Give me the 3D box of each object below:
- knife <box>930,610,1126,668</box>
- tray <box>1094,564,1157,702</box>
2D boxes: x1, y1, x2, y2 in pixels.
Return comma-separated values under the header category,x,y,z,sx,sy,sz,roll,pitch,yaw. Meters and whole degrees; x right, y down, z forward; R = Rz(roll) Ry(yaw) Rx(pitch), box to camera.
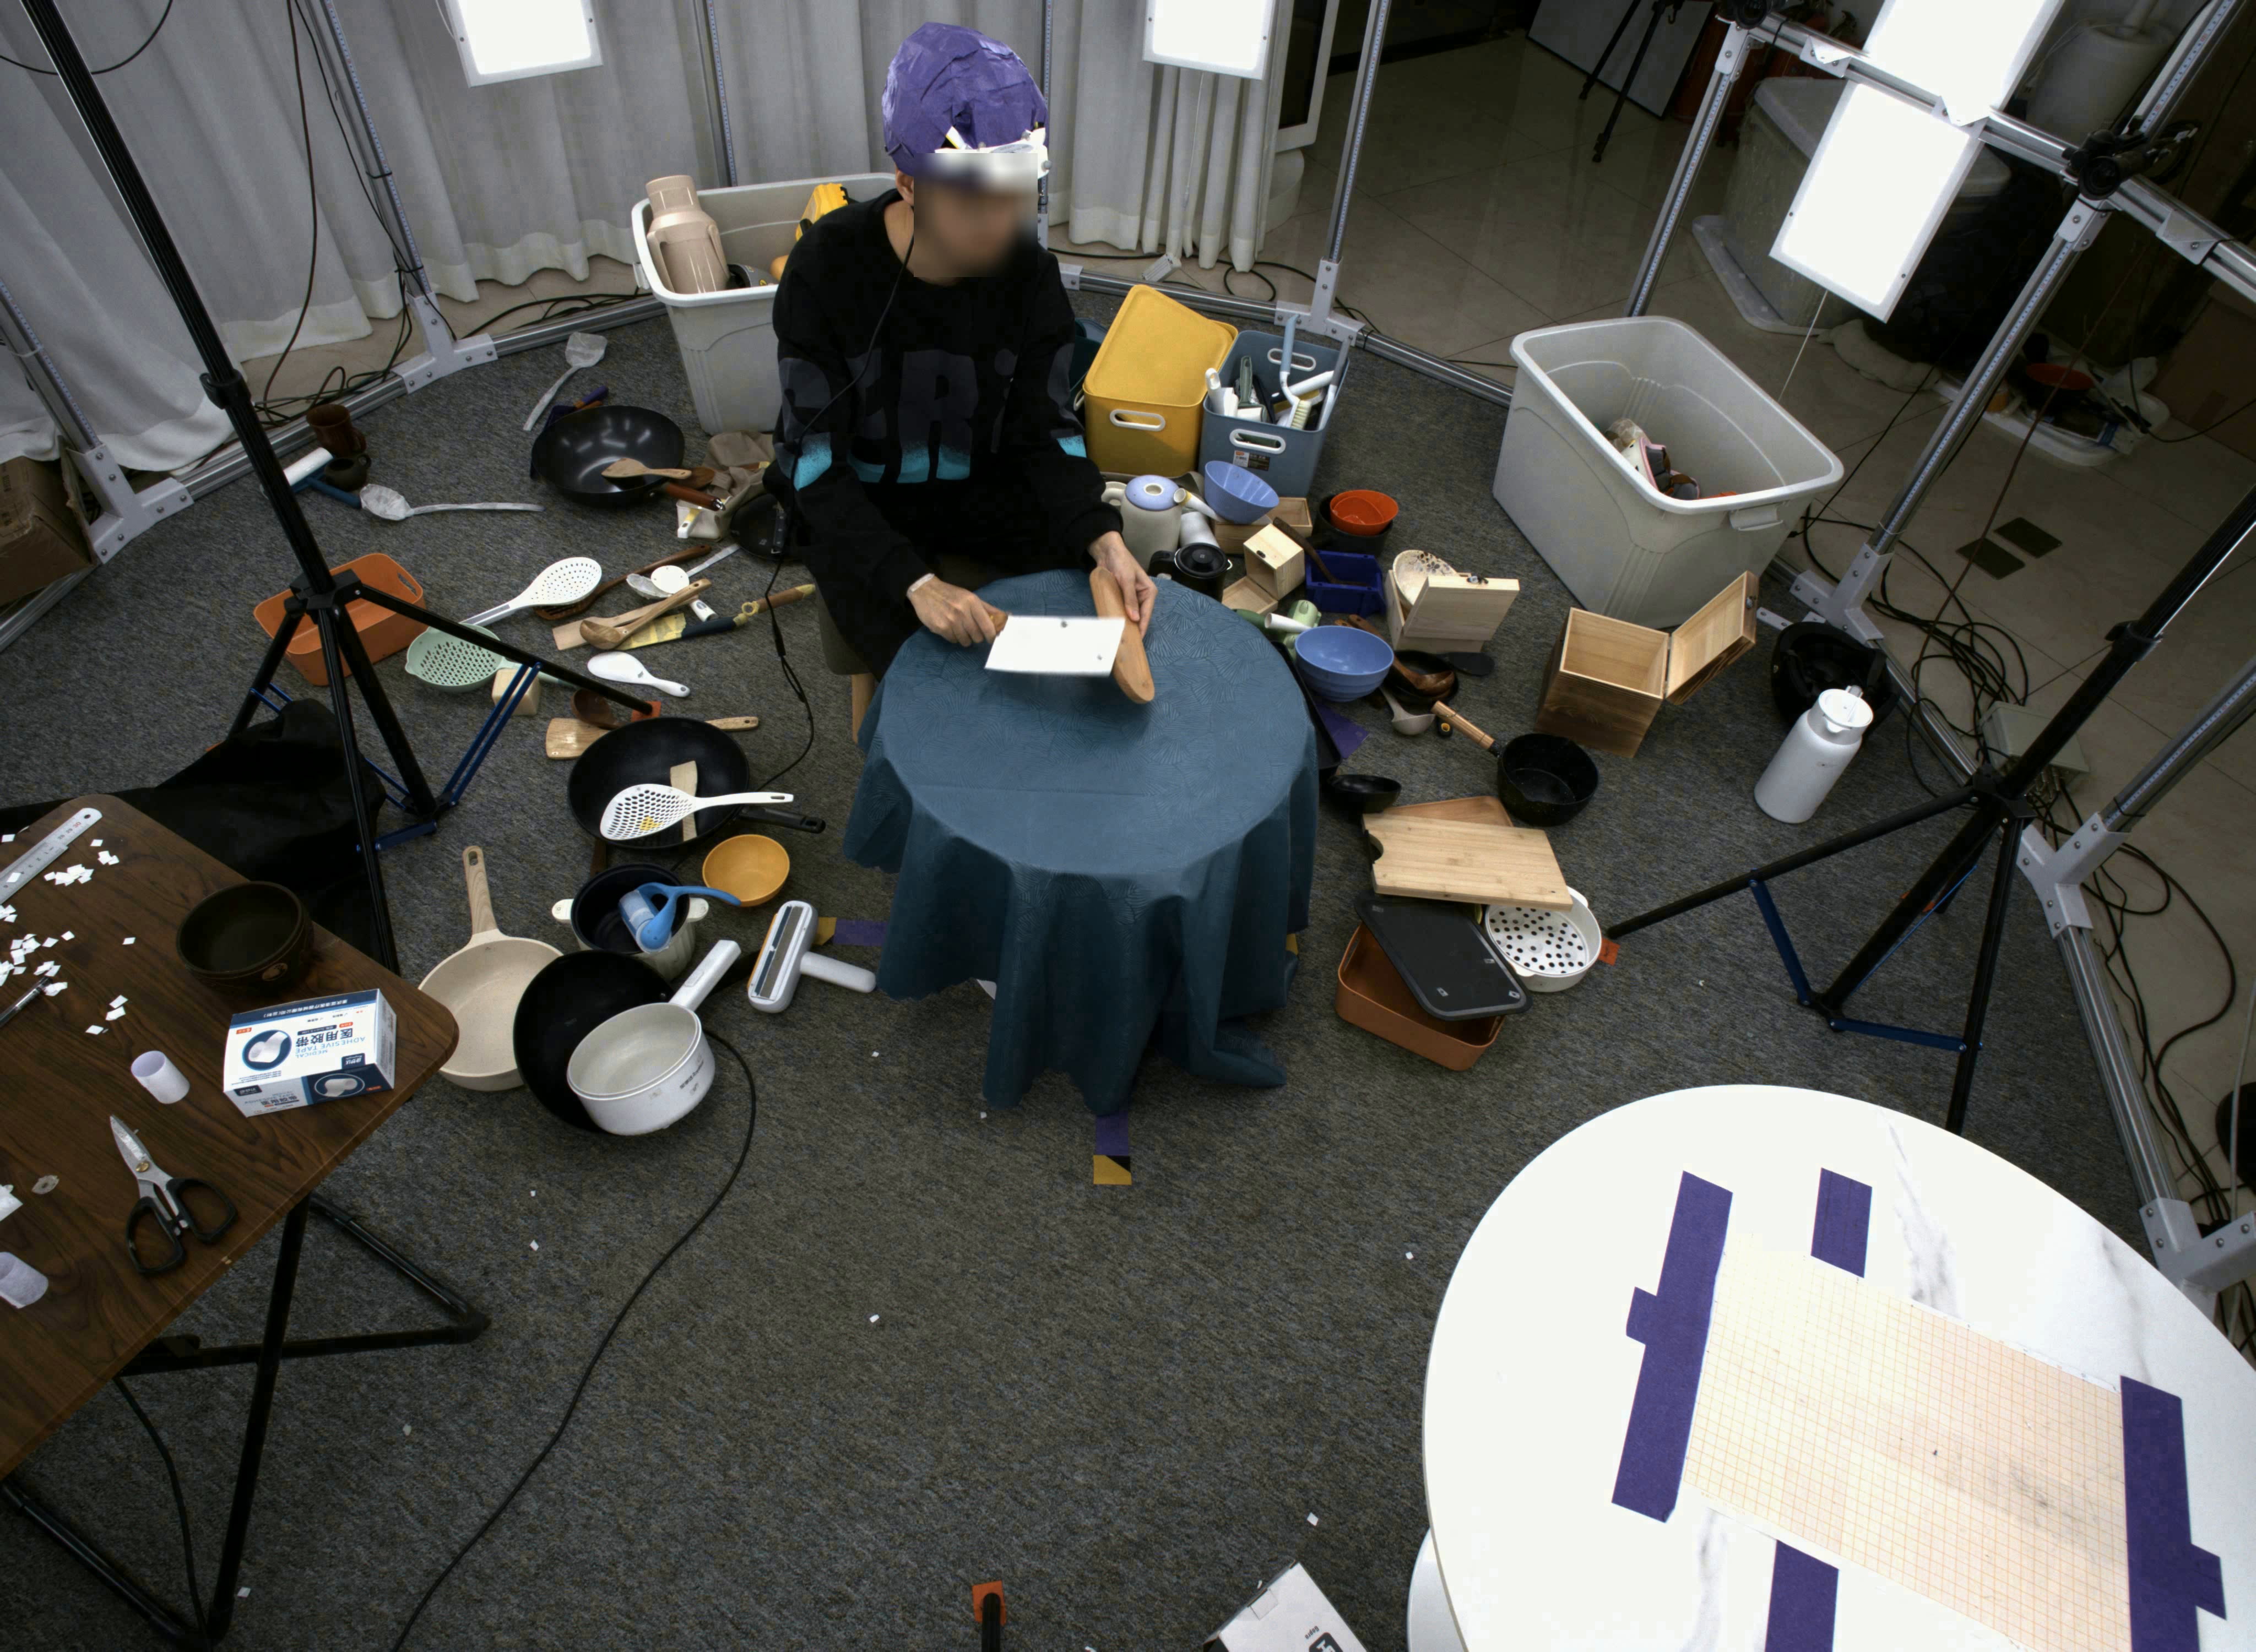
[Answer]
category,x,y,z,sx,sy,sz,roll,pitch,yaw
knife,-0.149,-0.262,1.805,0.307,0.020,0.094,4,63,22
tray,-0.005,-0.274,1.818,0.020,0.100,0.236,-28,54,22
